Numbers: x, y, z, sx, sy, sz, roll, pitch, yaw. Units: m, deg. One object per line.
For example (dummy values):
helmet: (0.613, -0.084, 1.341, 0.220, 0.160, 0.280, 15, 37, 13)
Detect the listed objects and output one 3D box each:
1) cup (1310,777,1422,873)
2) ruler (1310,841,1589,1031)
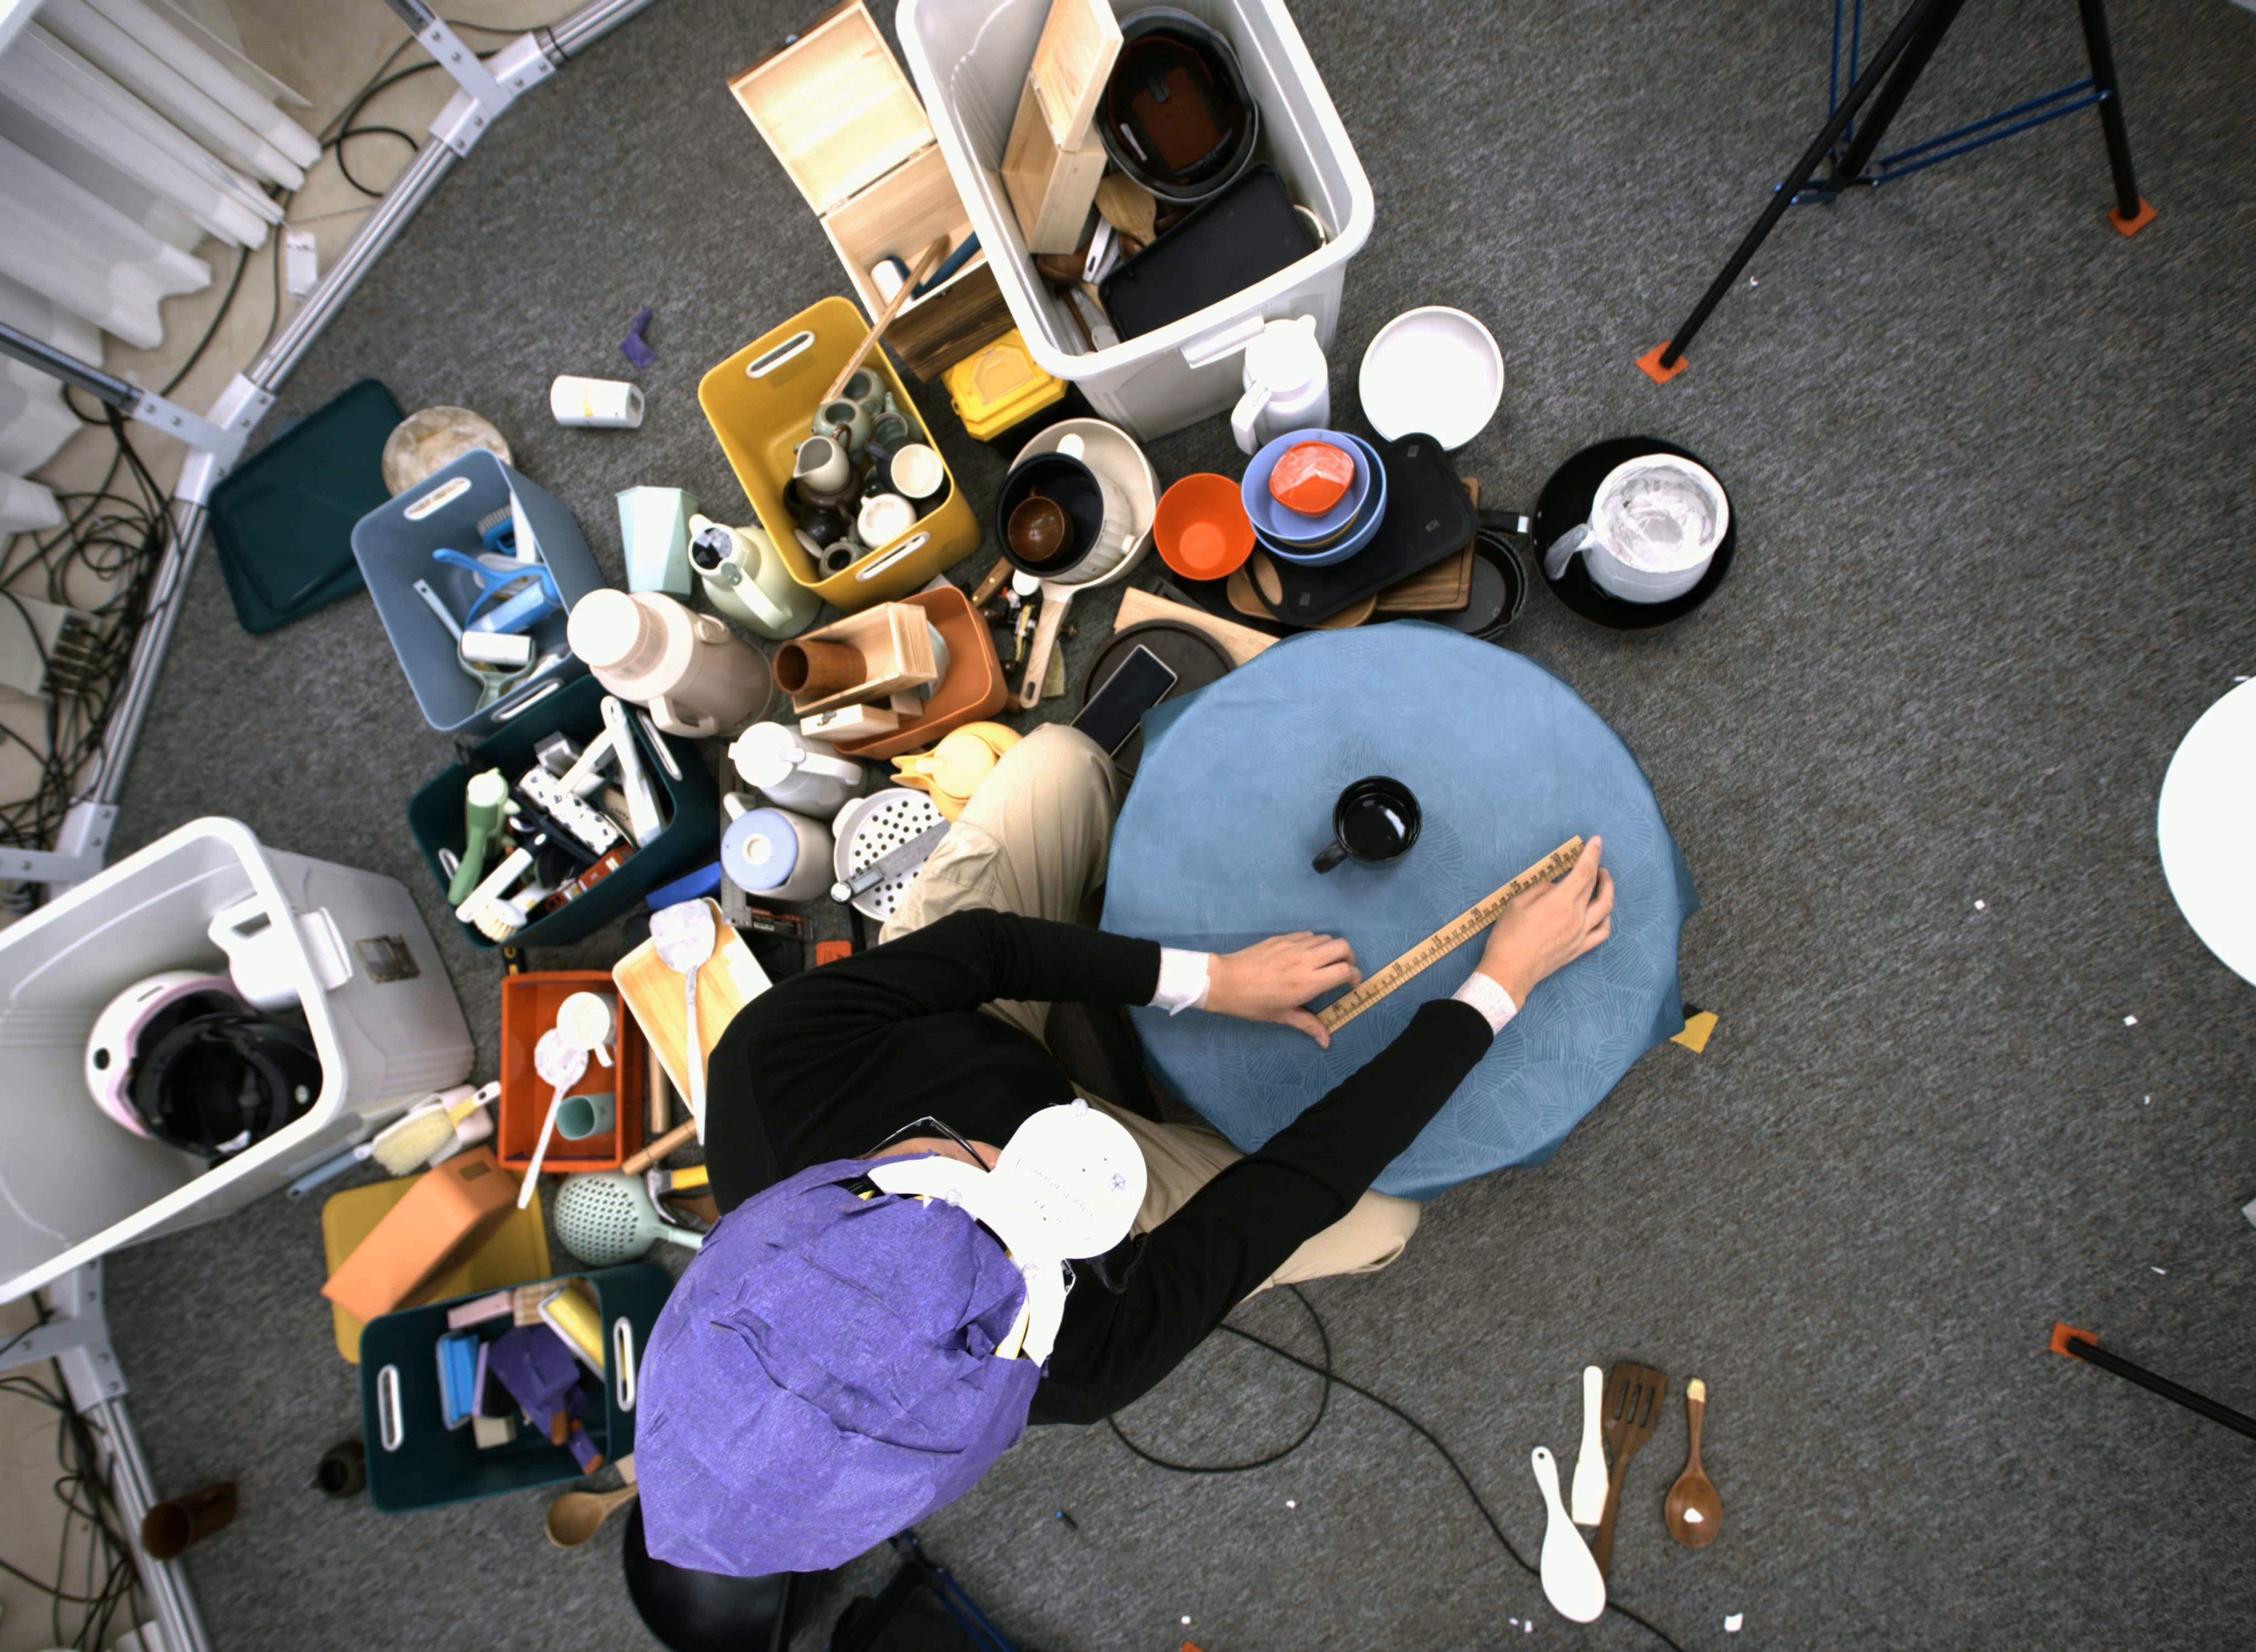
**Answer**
cup: (0.241, 0.007, 1.418, 0.124, 0.105, 0.088, -35, 82, 7)
ruler: (0.335, 0.114, 1.441, 0.333, 0.022, 0.027, -34, 77, 6)
